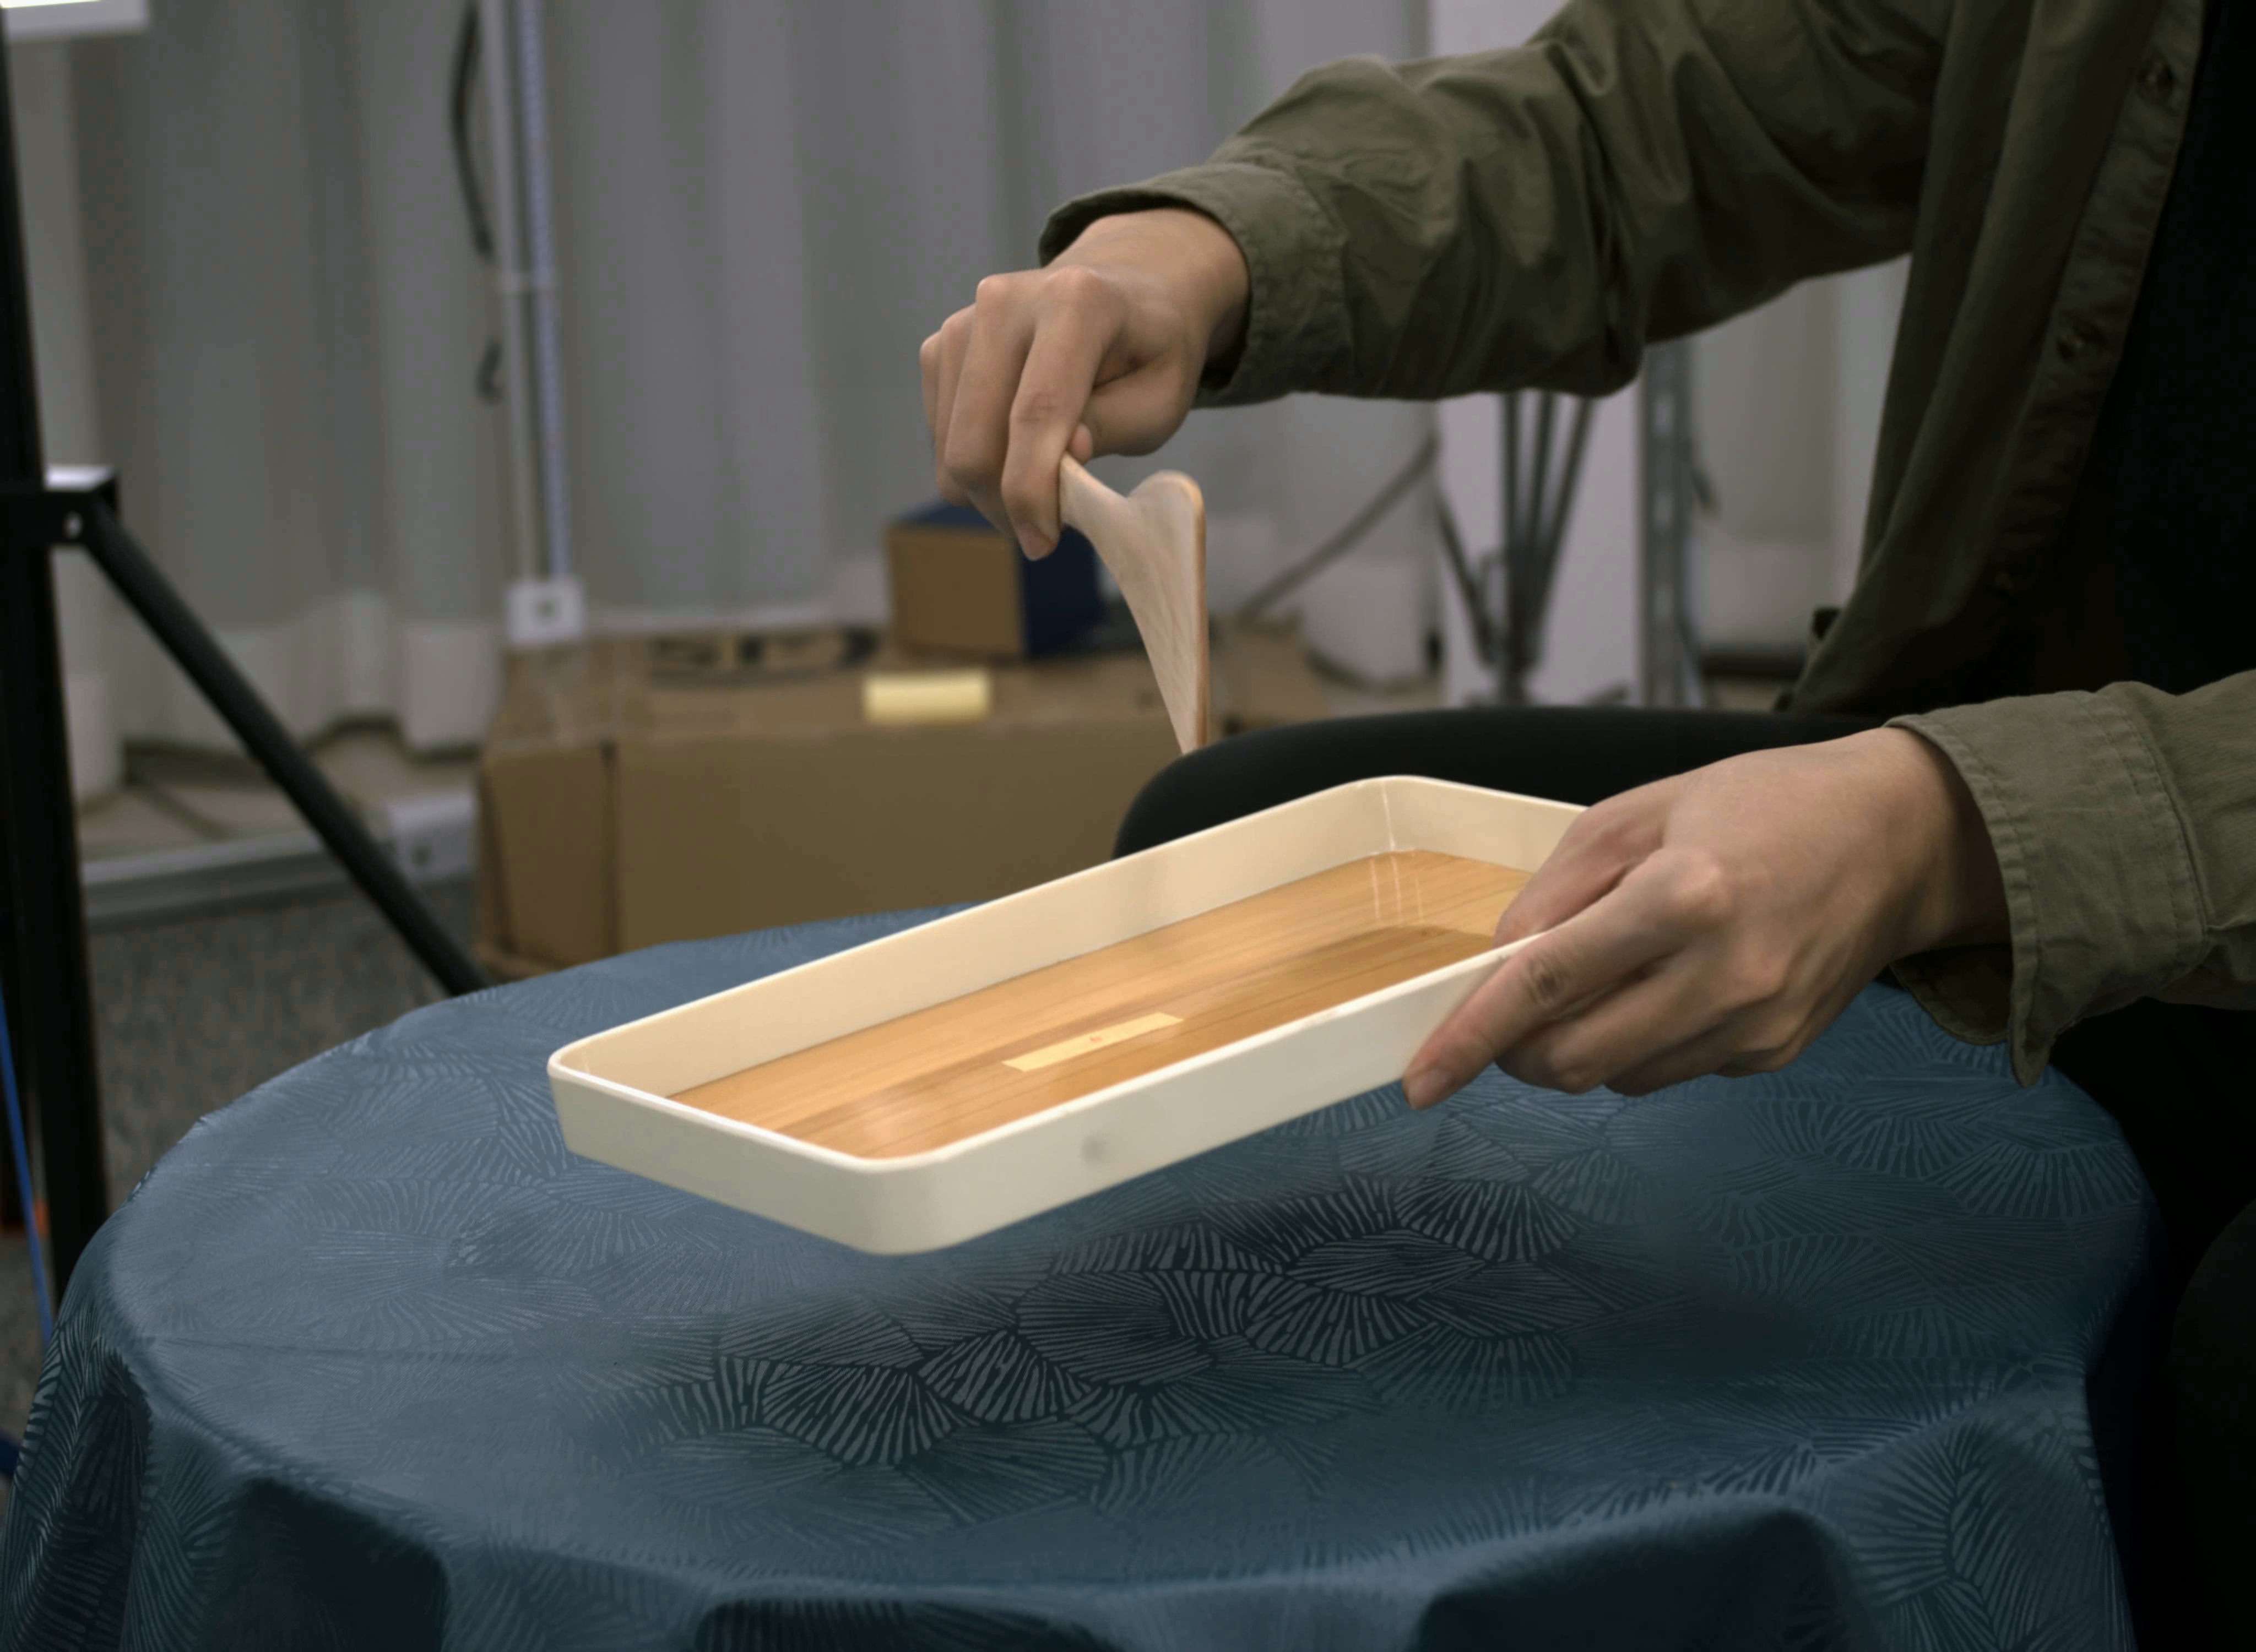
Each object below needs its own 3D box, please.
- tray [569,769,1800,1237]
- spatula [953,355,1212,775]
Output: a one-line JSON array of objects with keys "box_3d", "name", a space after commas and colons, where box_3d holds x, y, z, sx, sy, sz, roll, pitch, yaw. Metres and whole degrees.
[{"box_3d": [0.017, 0.043, 1.450, 0.294, 0.027, 0.196, -17, 16, -29], "name": "tray"}, {"box_3d": [-0.015, -0.097, 1.608, 0.016, 0.080, 0.332, -5, 18, -15], "name": "spatula"}]
